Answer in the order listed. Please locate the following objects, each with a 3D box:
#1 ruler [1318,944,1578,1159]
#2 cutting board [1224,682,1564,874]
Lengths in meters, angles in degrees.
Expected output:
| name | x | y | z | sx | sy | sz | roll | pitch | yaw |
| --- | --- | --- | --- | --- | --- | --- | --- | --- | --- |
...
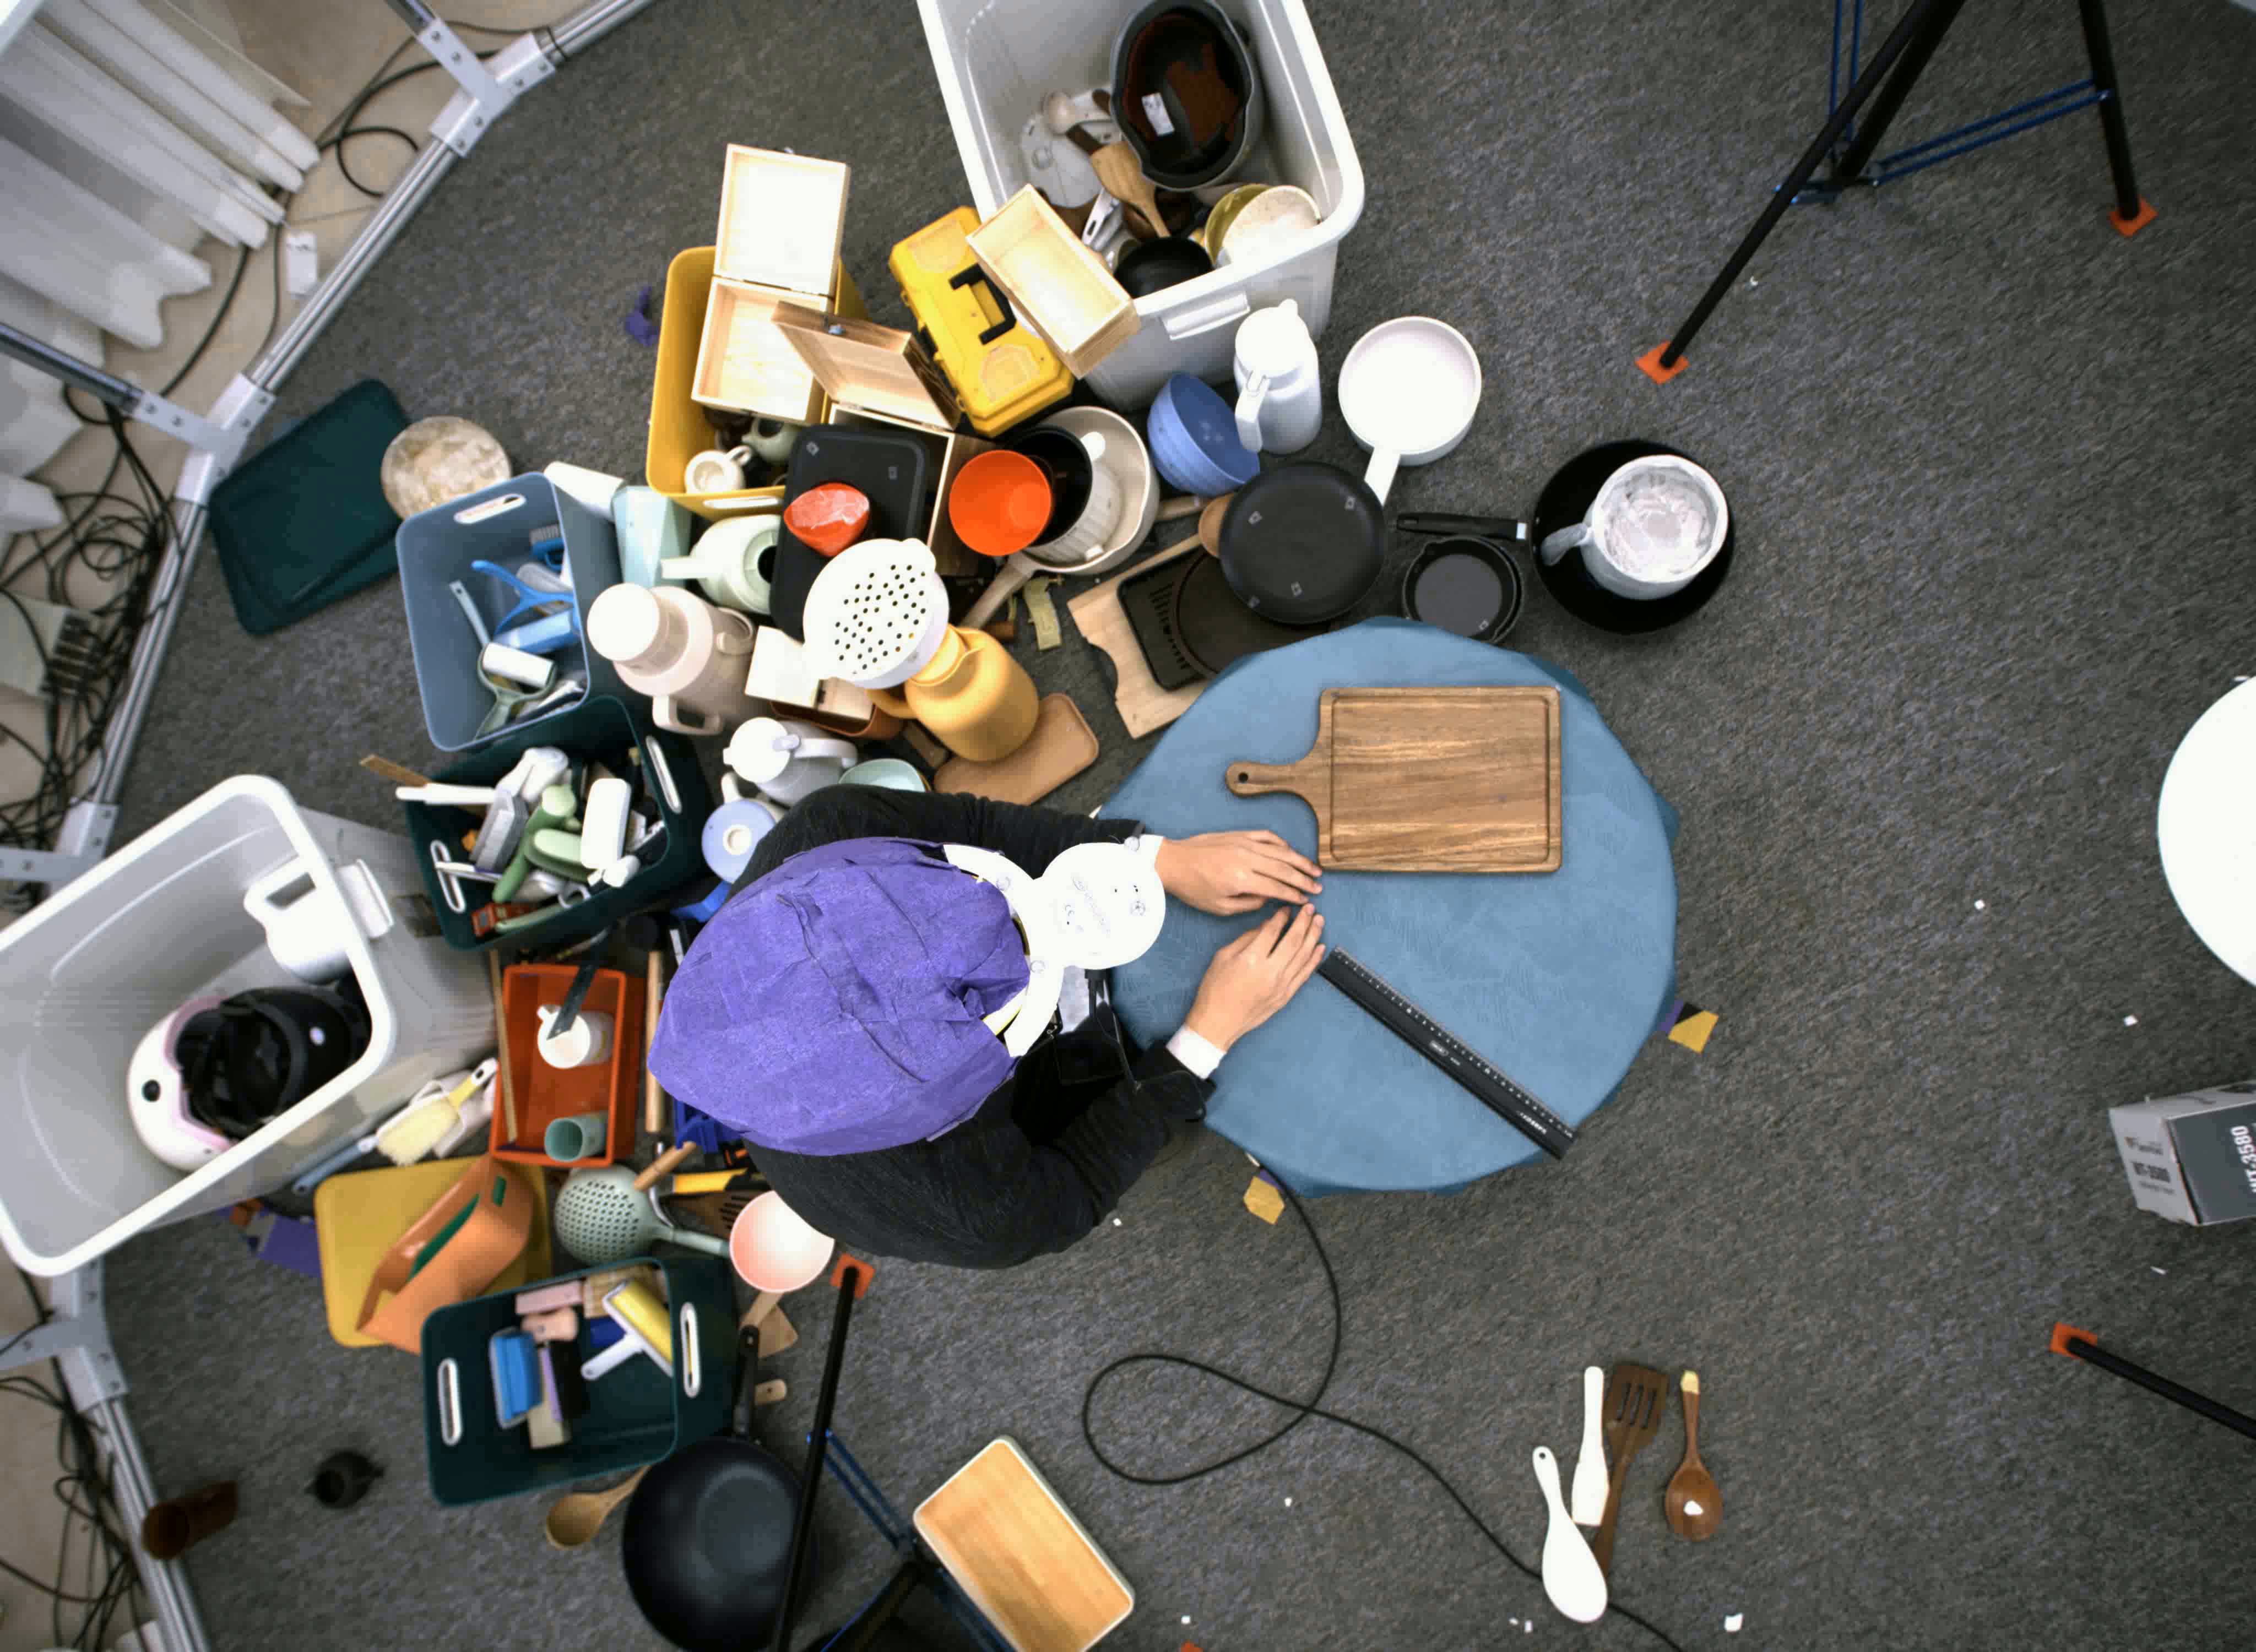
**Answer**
| name | x | y | z | sx | sy | sz | roll | pitch | yaw |
| --- | --- | --- | --- | --- | --- | --- | --- | --- | --- |
| ruler | 0.331 | 0.230 | 1.432 | 0.311 | 0.017 | 0.039 | 38 | 91 | 10 |
| cutting board | 0.277 | -0.051 | 1.455 | 0.353 | 0.023 | 0.200 | 0 | 87 | 11 |
